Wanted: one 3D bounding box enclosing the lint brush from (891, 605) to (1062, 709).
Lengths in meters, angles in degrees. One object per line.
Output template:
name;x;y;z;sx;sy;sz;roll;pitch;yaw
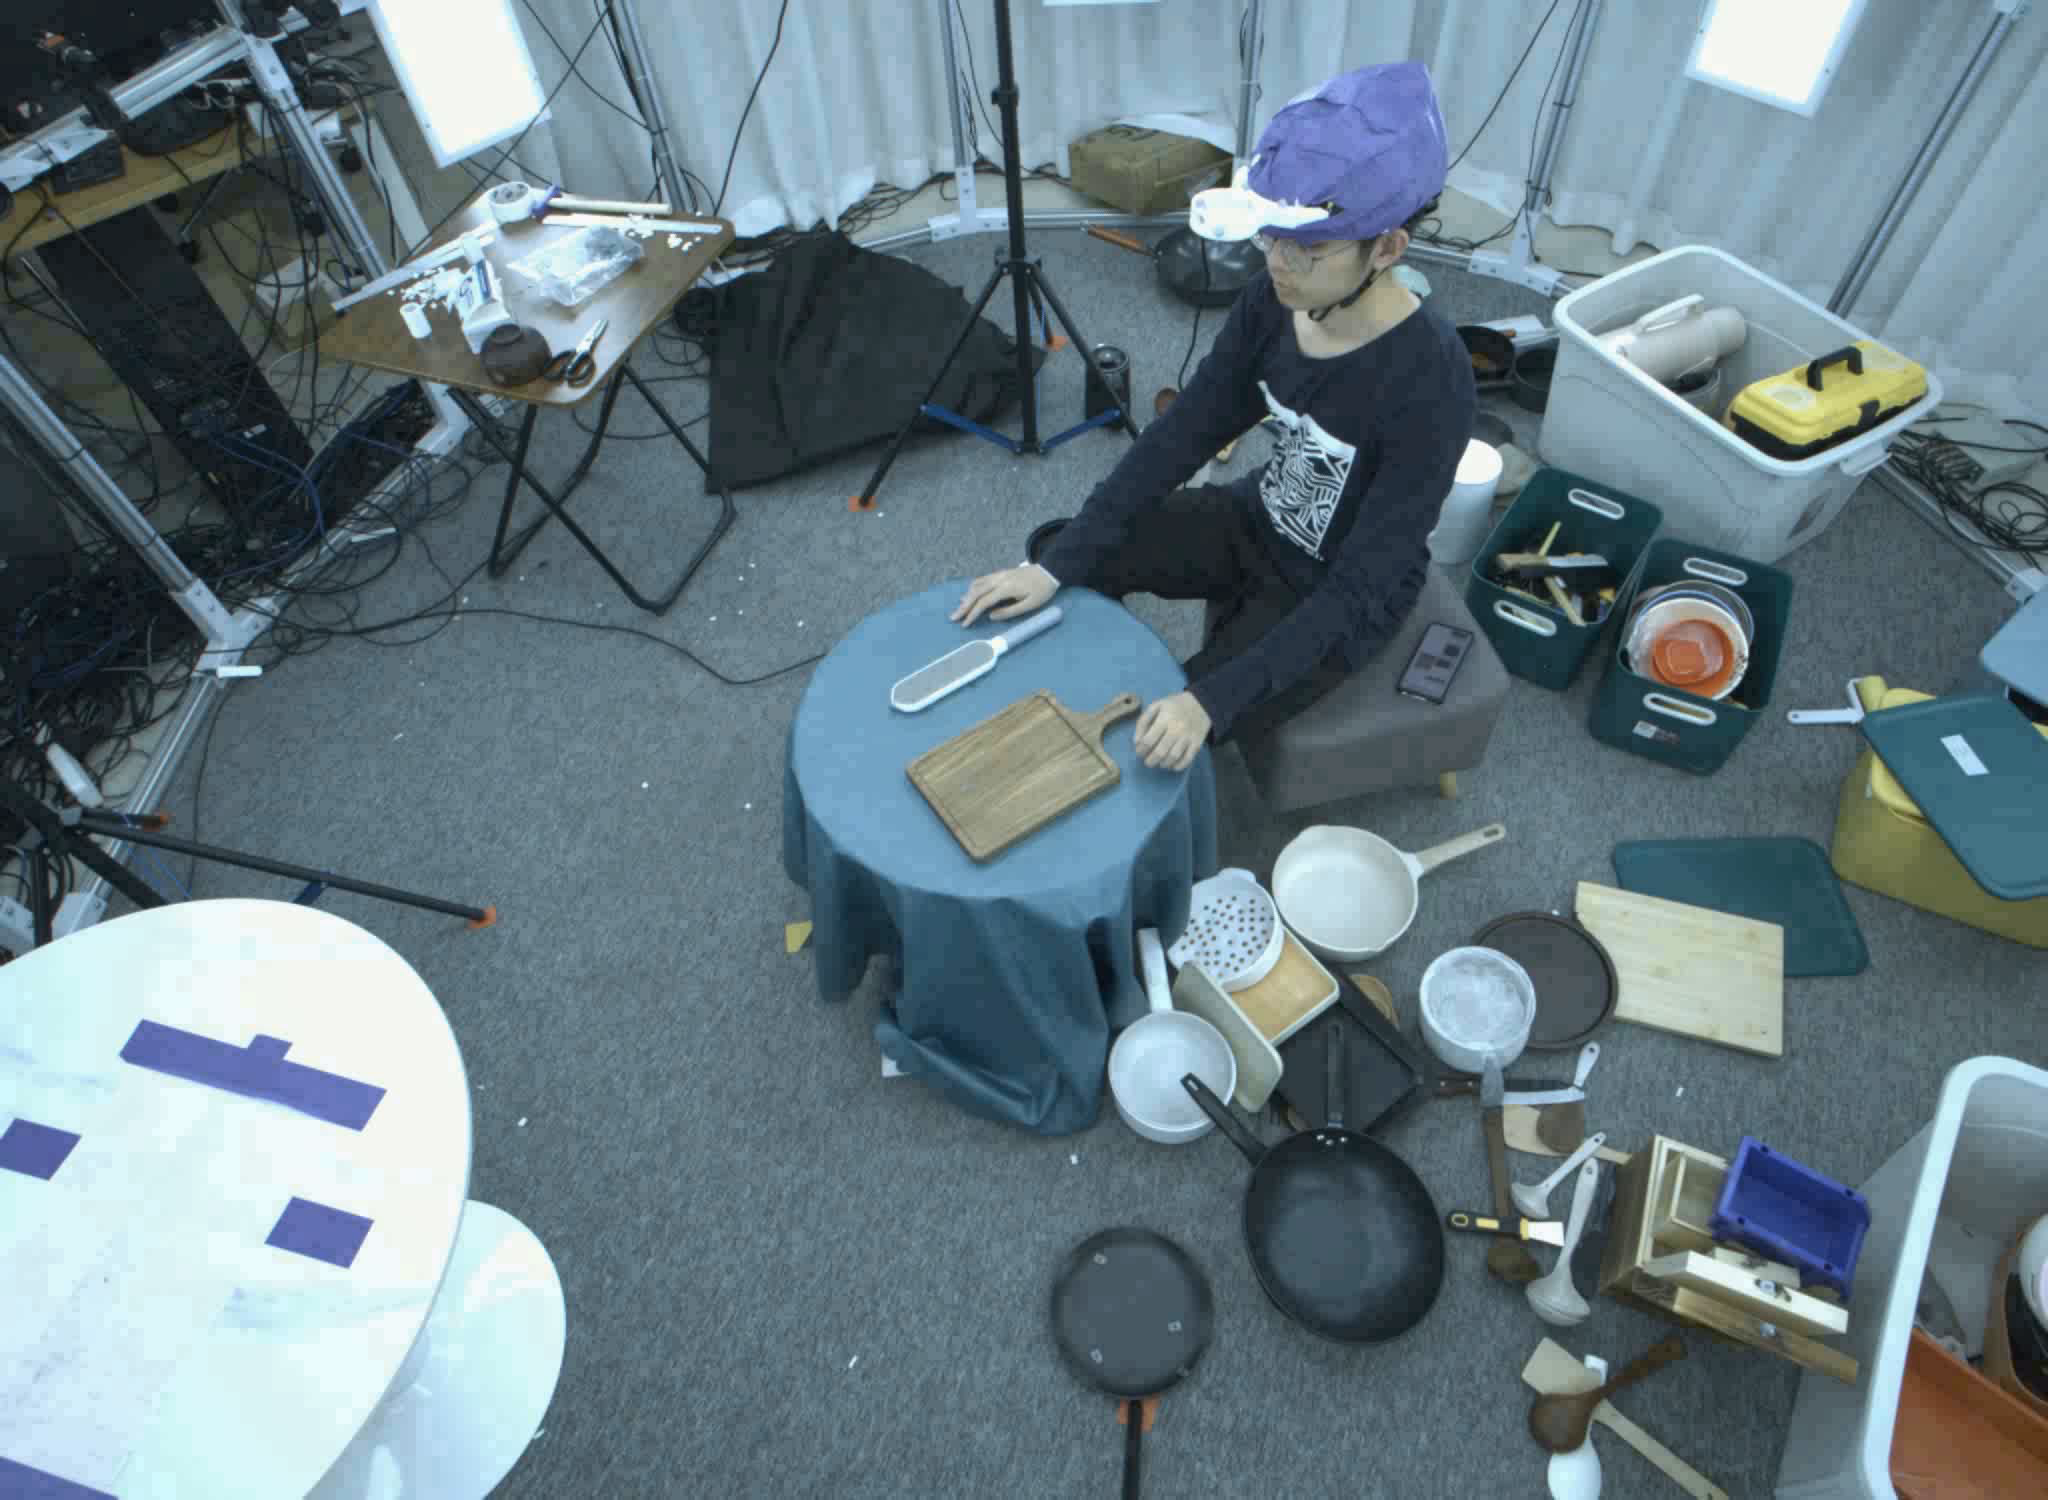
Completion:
lint brush;-0.069;-0.146;1.884;0.311;0.021;0.059;-31;54;-19

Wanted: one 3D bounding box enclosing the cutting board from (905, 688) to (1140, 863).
cutting board;0.024;0.007;1.777;0.355;0.023;0.197;-30;59;-19
